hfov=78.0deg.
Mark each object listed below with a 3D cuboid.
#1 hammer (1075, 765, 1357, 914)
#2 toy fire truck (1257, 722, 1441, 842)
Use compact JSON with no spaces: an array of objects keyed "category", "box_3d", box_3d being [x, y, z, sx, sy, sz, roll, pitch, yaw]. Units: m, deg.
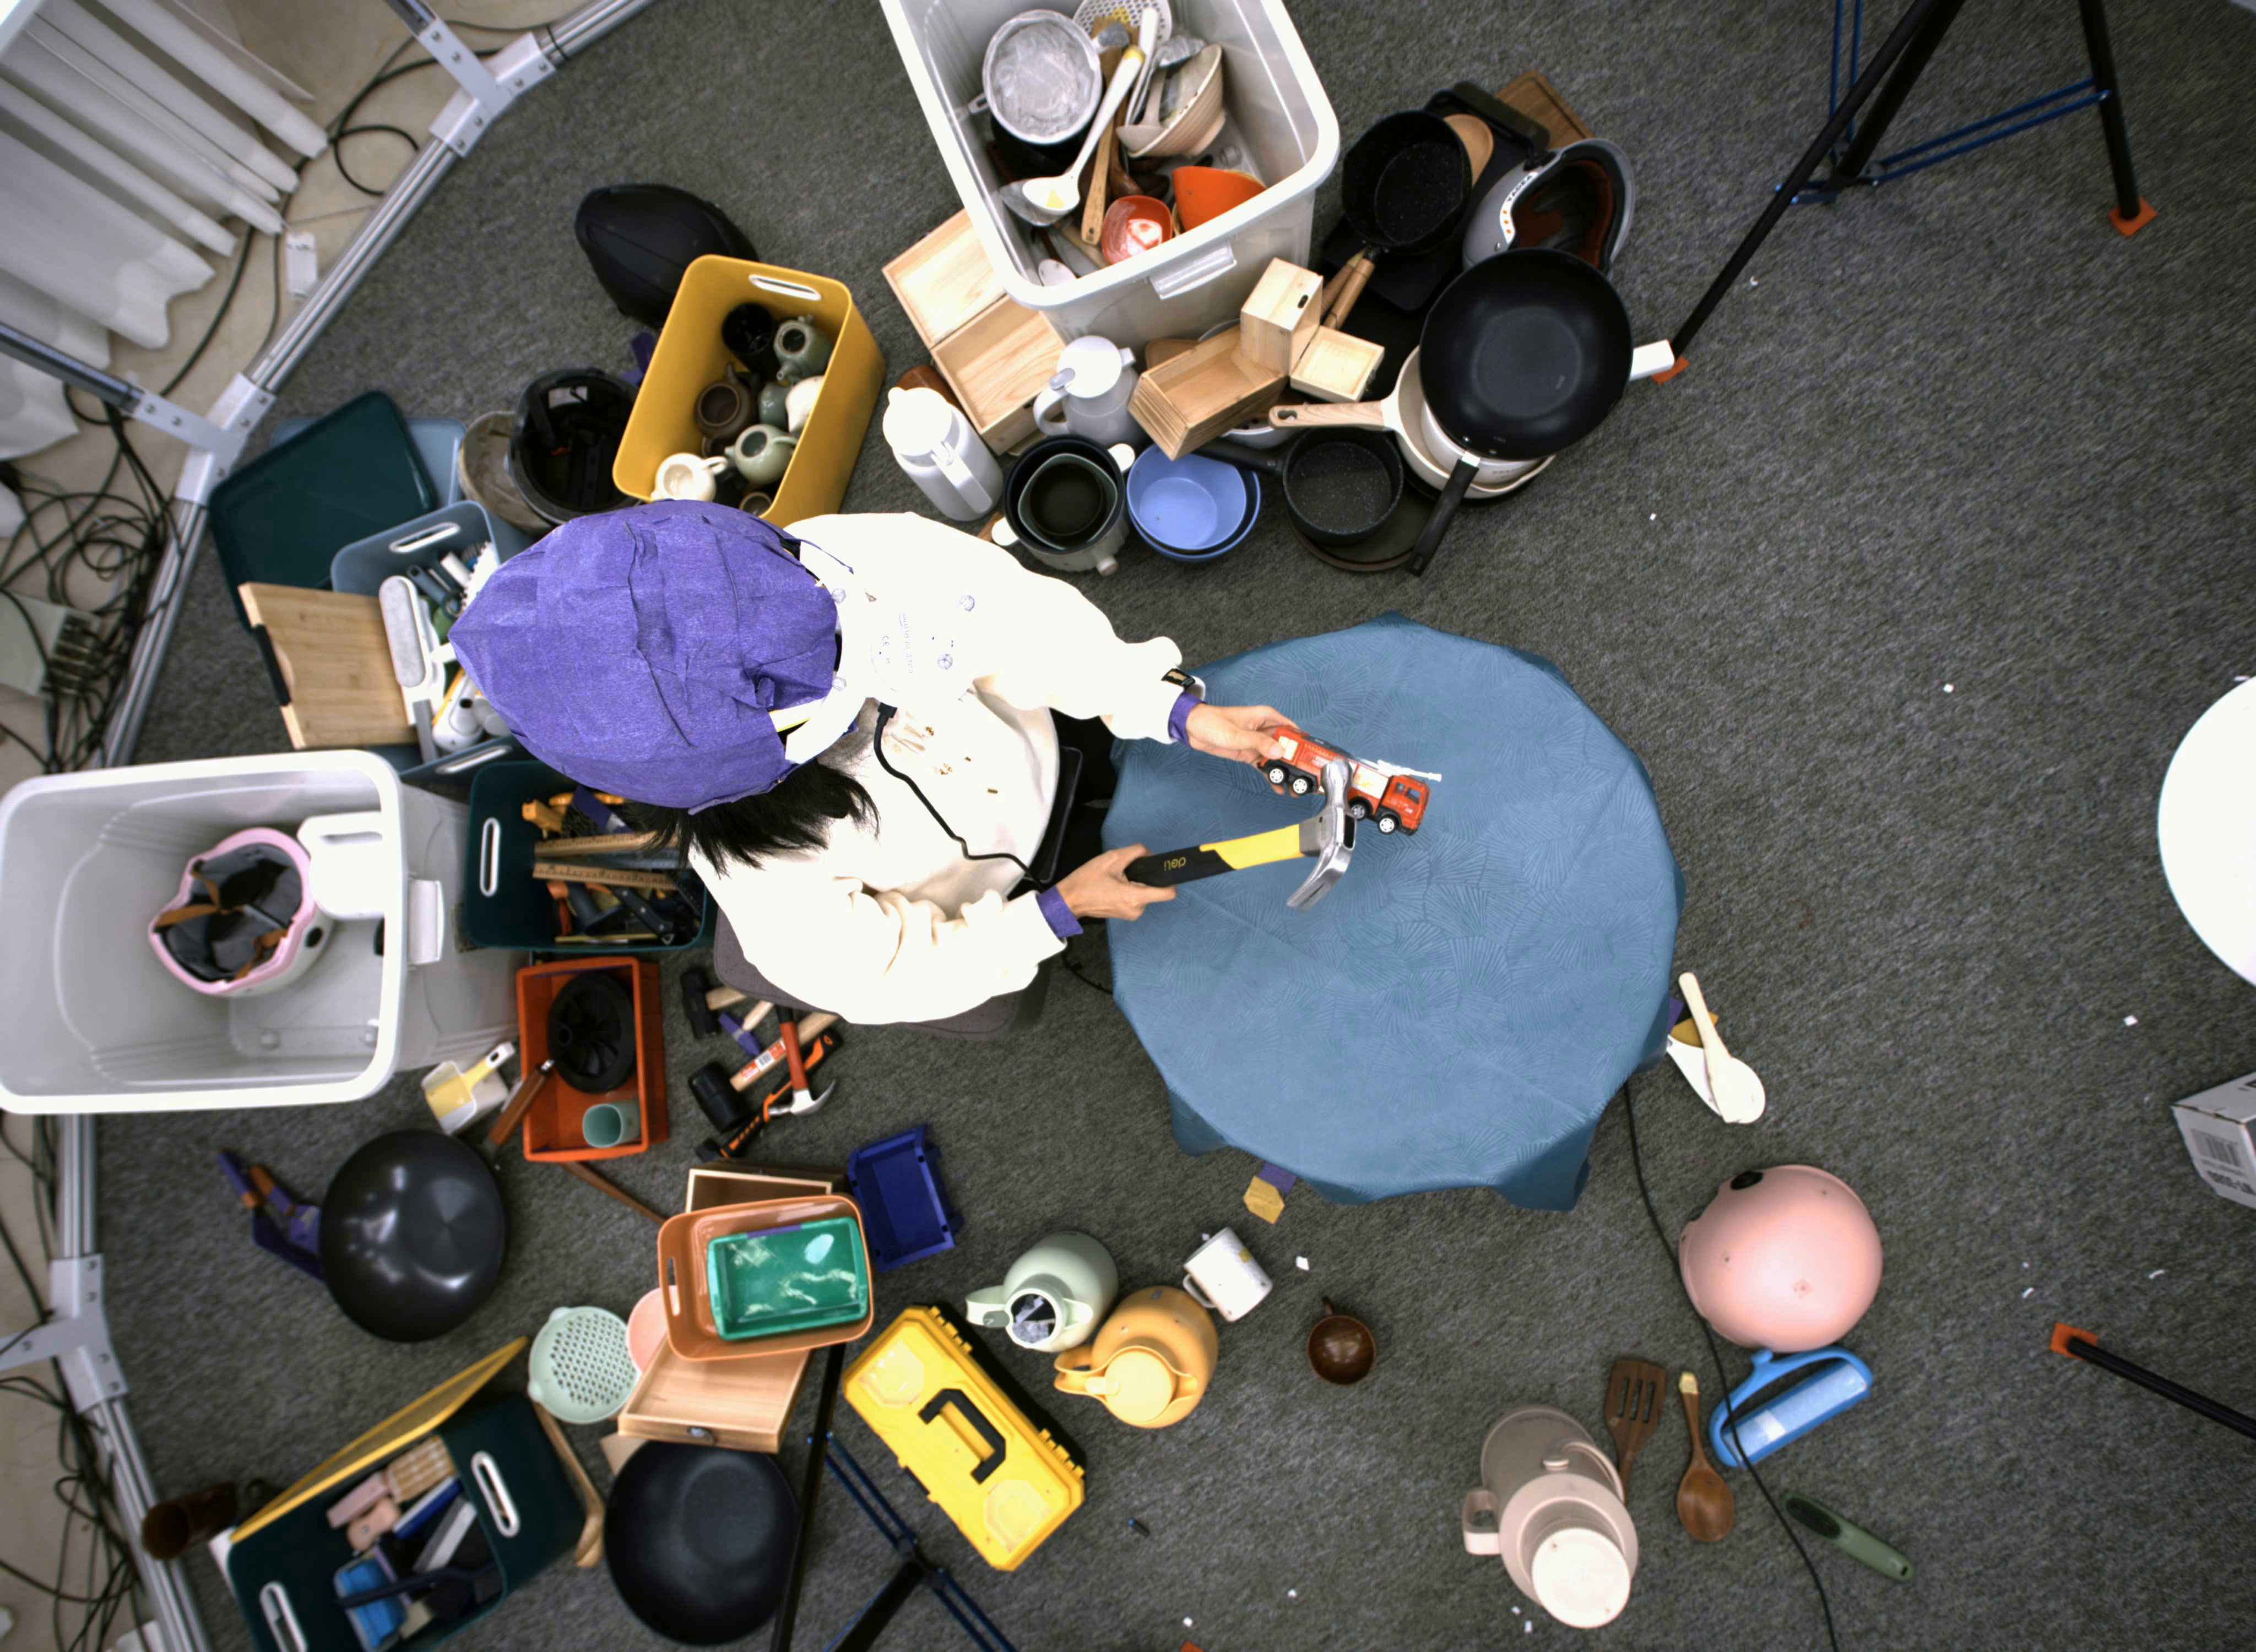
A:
[{"category":"hammer","box_3d":[0.075,0.033,1.361,0.343,0.032,0.129,-12,67,42]},{"category":"toy fire truck","box_3d":[0.208,-0.045,1.311,0.168,0.053,0.071,24,107,15]}]
